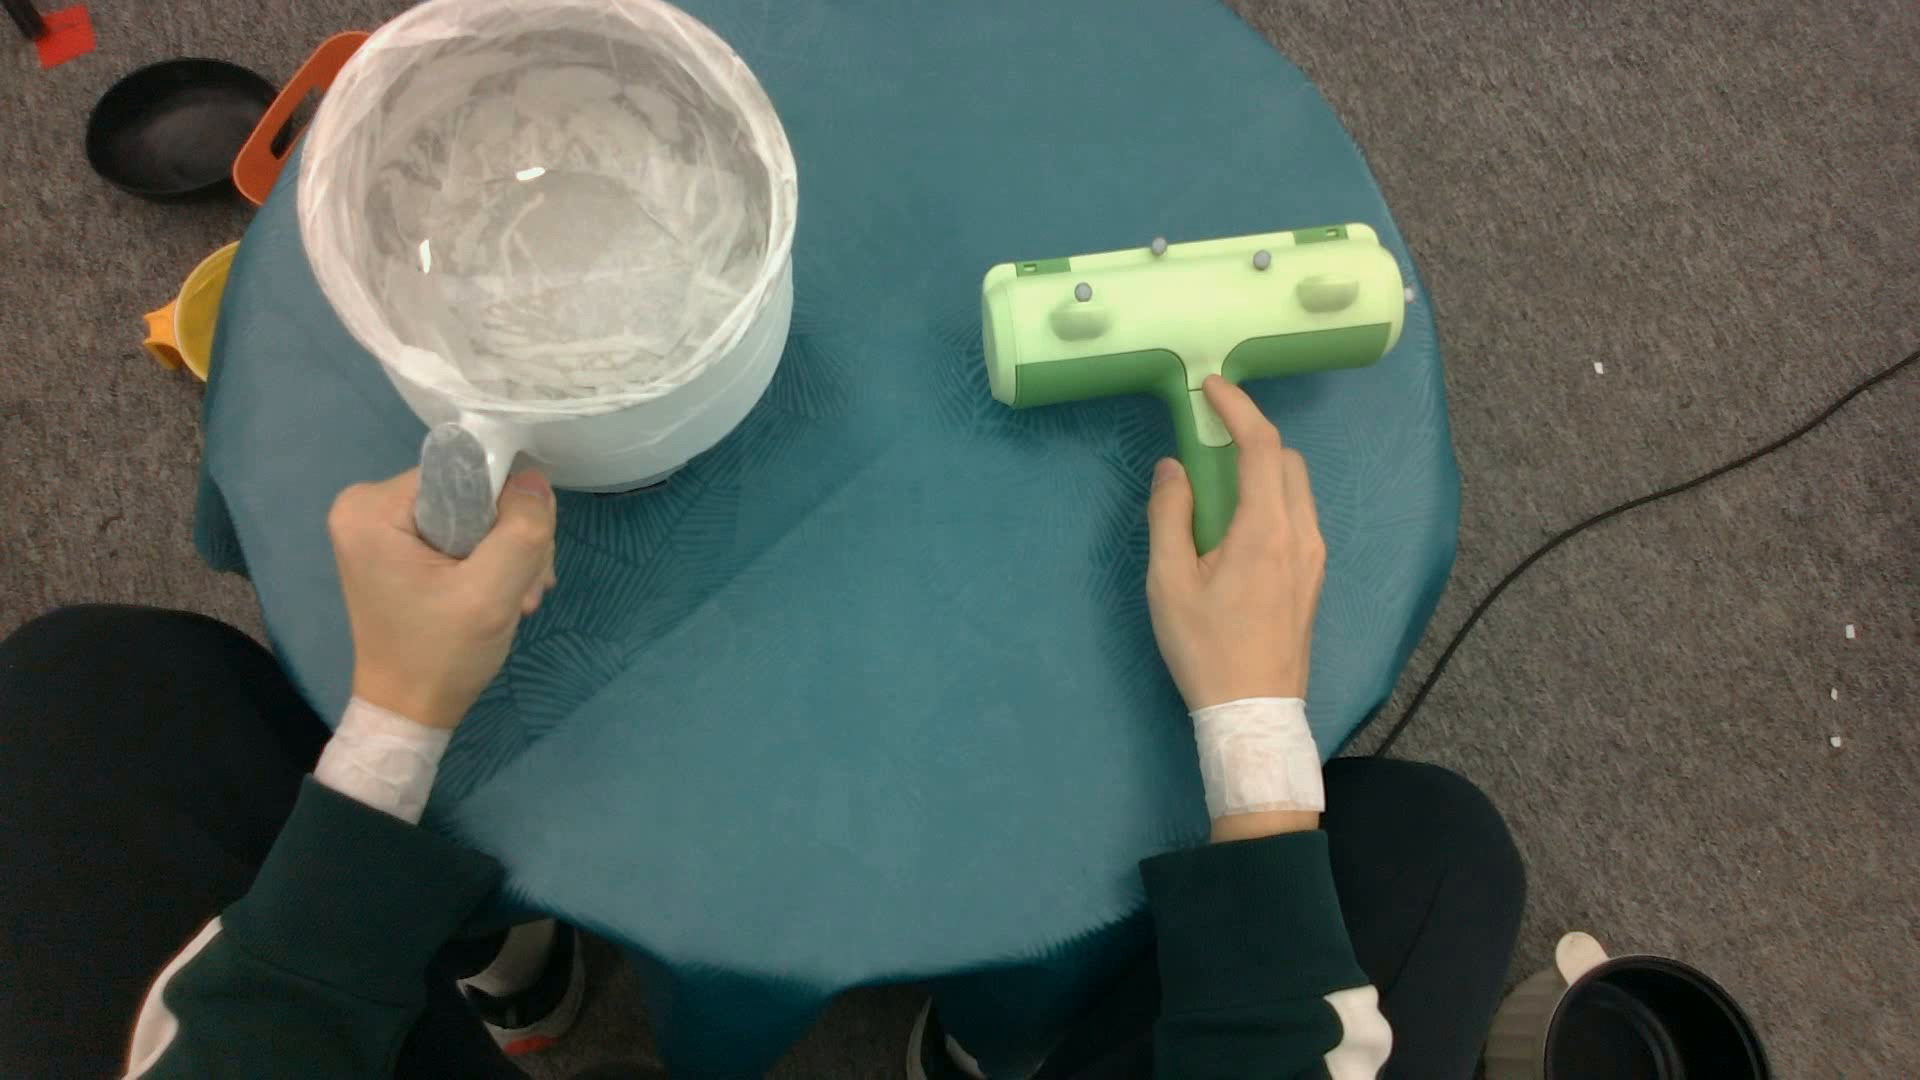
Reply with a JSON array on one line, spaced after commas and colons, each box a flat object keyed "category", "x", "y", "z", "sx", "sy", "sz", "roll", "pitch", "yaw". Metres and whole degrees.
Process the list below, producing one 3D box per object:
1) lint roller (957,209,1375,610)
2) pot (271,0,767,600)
[{"category": "lint roller", "x": 0.108, "y": -0.064, "z": 0.637, "sx": 0.199, "sy": 0.082, "sz": 0.184, "roll": -8, "pitch": 70, "yaw": -6}, {"category": "pot", "x": -0.176, "y": -0.093, "z": 0.564, "sx": 0.179, "sy": 0.136, "sz": 0.234, "roll": 15, "pitch": 76, "yaw": -5}]
